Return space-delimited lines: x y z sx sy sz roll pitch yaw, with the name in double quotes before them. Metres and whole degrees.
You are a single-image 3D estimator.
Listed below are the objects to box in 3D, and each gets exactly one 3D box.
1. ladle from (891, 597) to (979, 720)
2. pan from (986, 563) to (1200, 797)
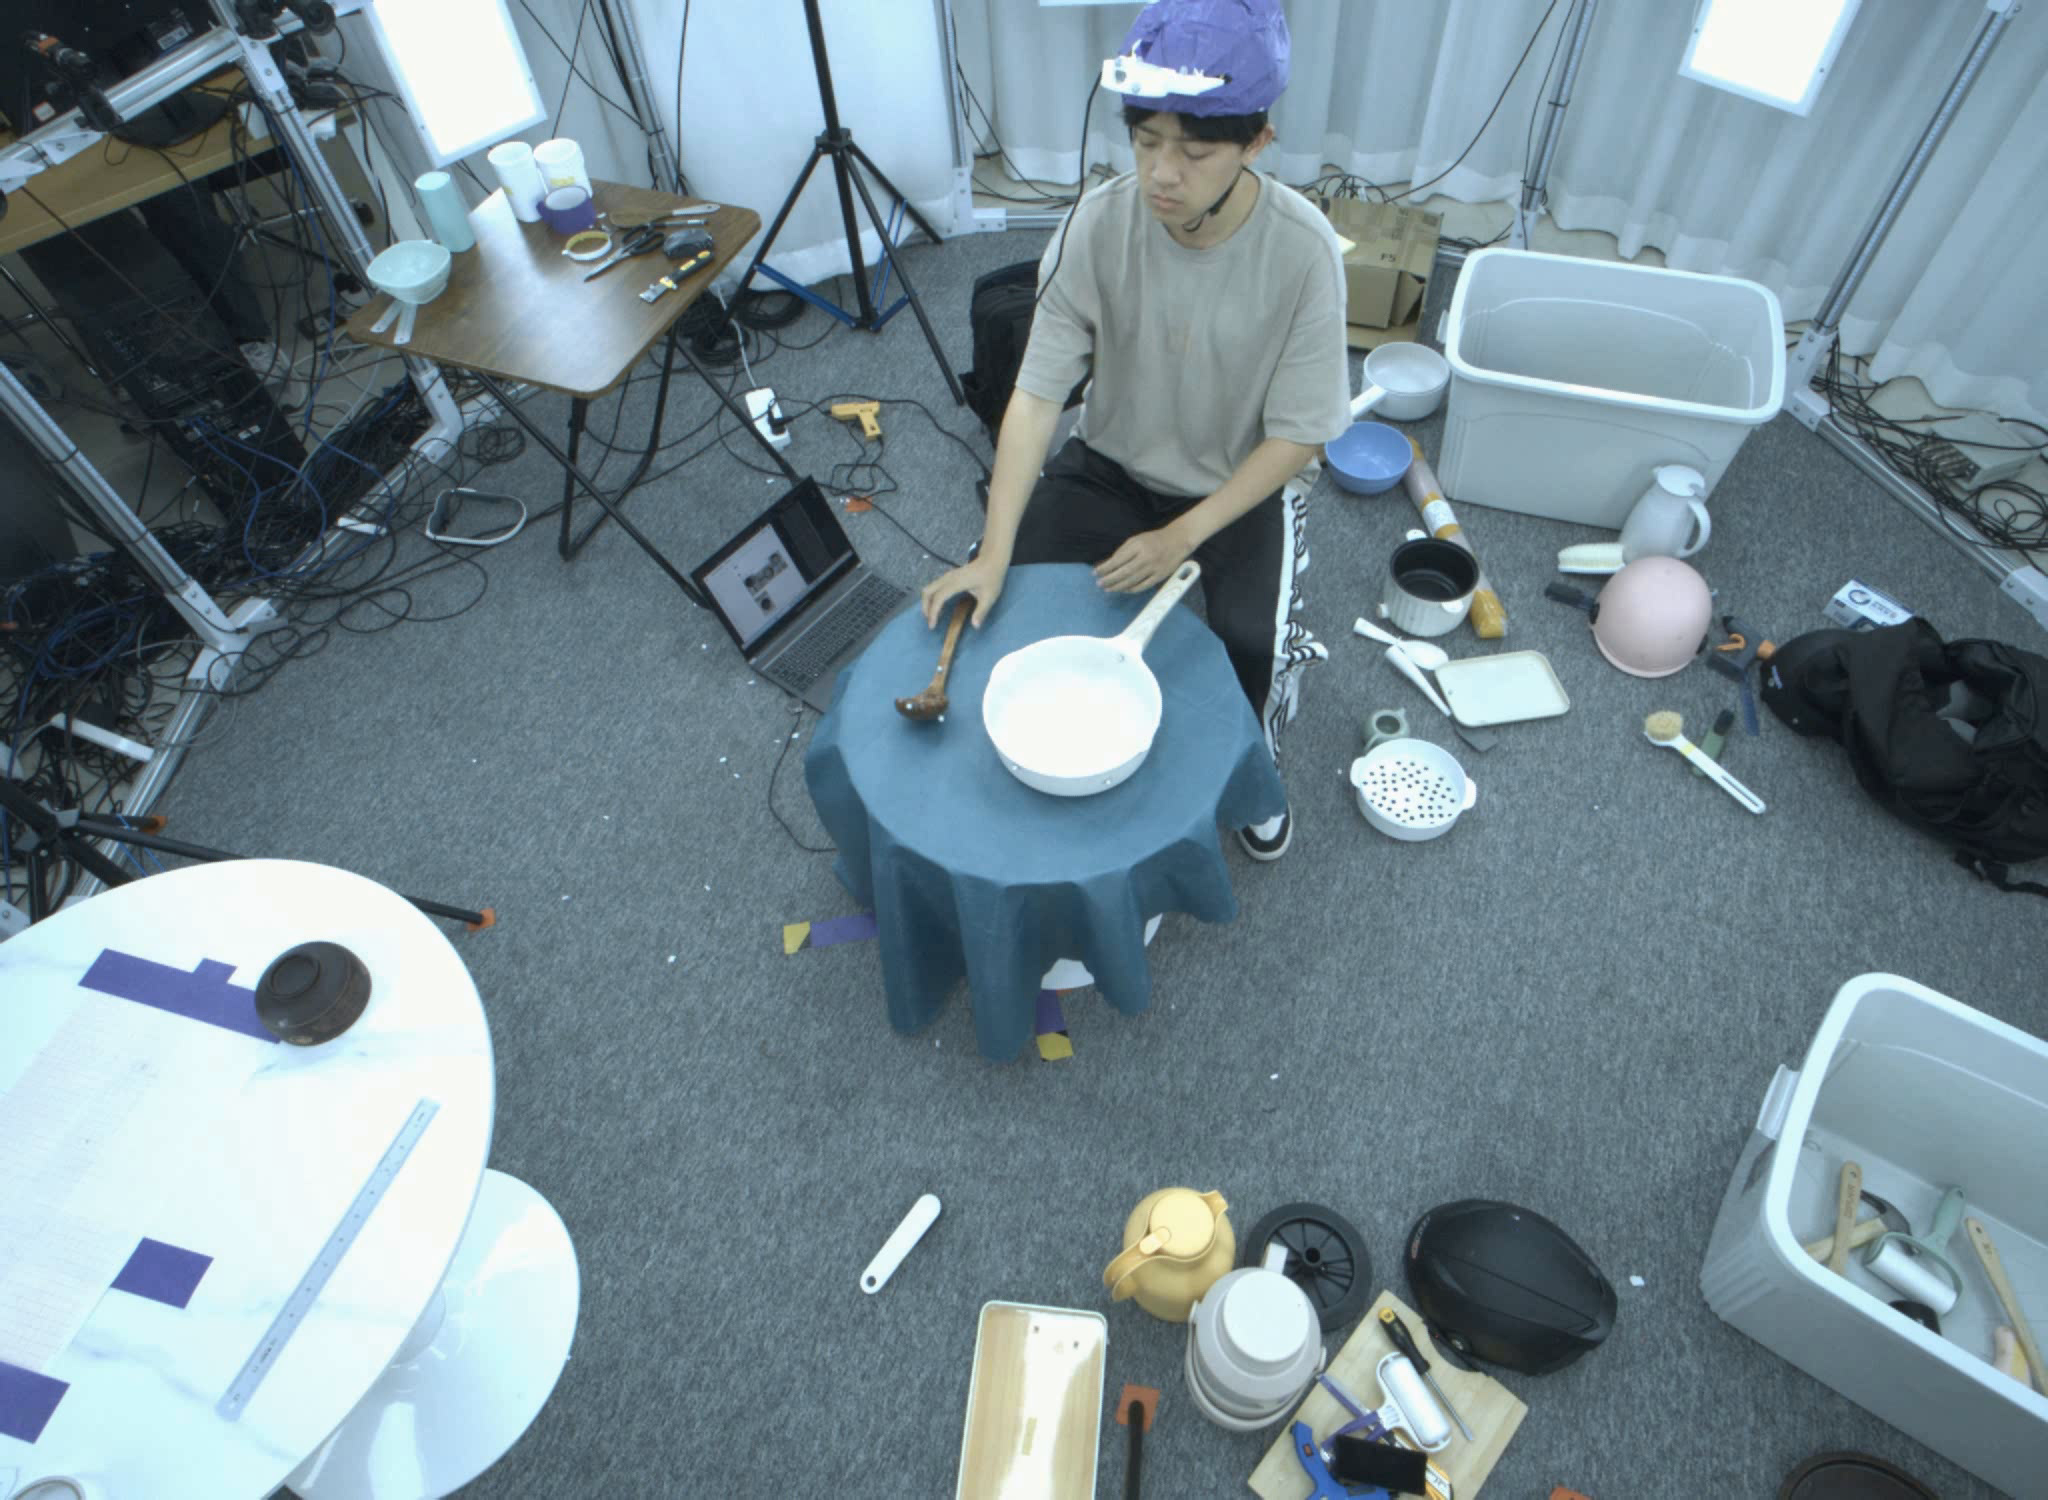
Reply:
"ladle" -0.126 -0.151 1.849 0.081 0.078 0.273 8 56 15
"pan" 0.130 -0.107 1.794 0.259 0.103 0.437 30 61 23
